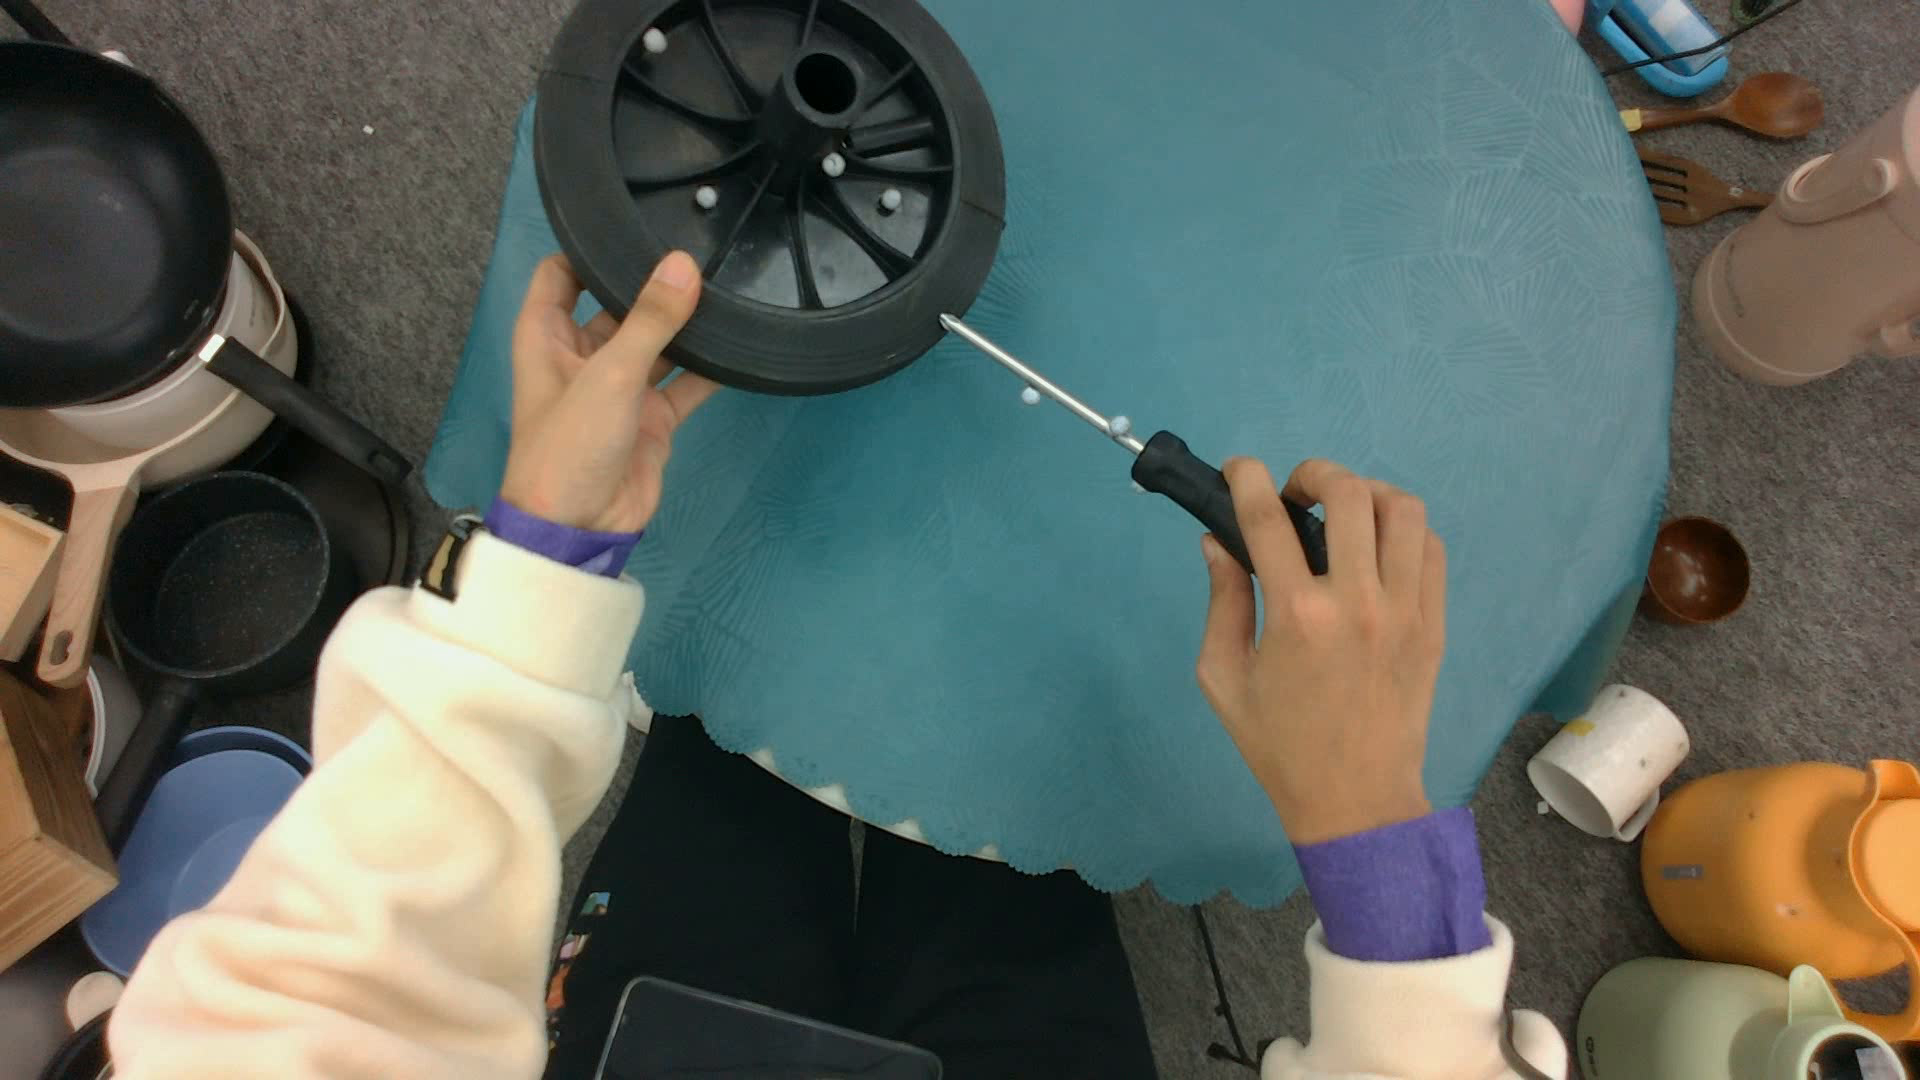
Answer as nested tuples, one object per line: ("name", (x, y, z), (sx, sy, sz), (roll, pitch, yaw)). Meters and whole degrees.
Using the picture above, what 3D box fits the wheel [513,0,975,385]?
("wheel", (-0.072, -0.159, 0.533), (0.187, 0.079, 0.190), (47, 64, -9))

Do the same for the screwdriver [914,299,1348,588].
("screwdriver", (0.058, -0.040, 0.525), (0.196, 0.031, 0.031), (31, 75, 15))
